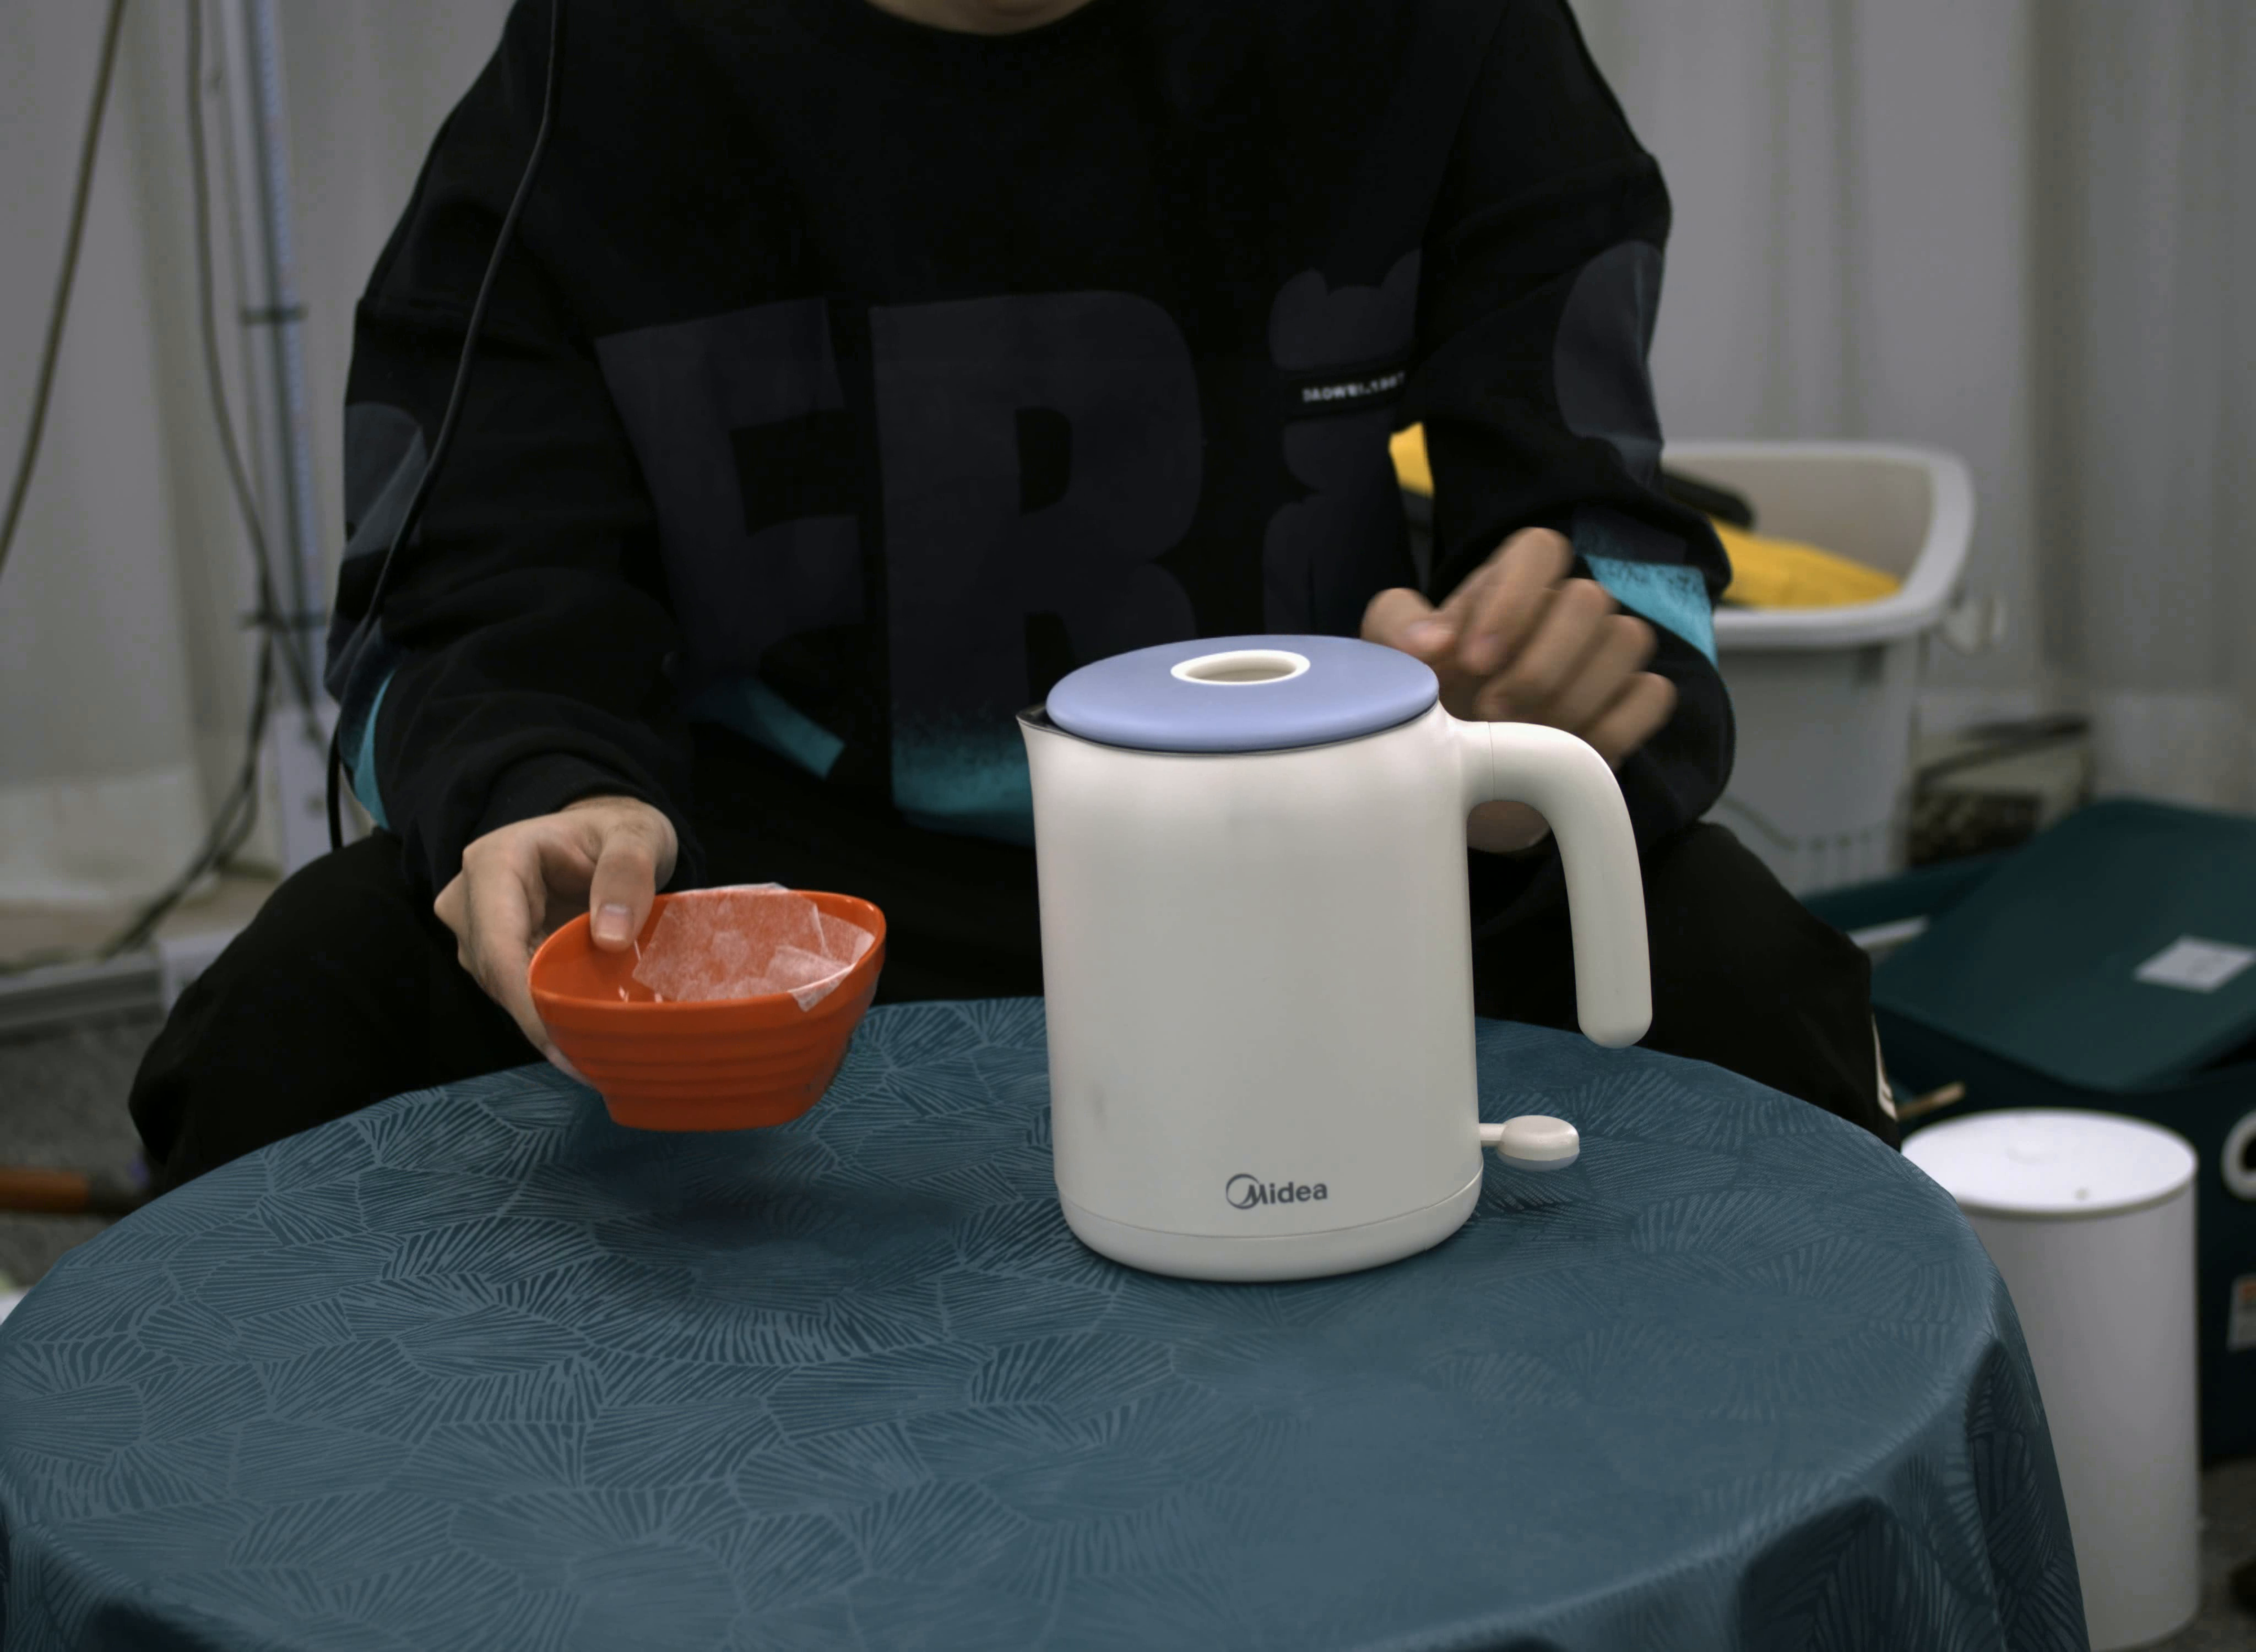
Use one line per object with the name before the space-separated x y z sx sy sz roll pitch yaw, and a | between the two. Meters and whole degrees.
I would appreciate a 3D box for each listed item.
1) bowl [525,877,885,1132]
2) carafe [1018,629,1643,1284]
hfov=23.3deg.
bowl | -0.128 0.059 1.704 0.118 0.051 0.120 -7 20 2
carafe | 0.063 0.038 1.663 0.190 0.182 0.133 -1 15 -3
